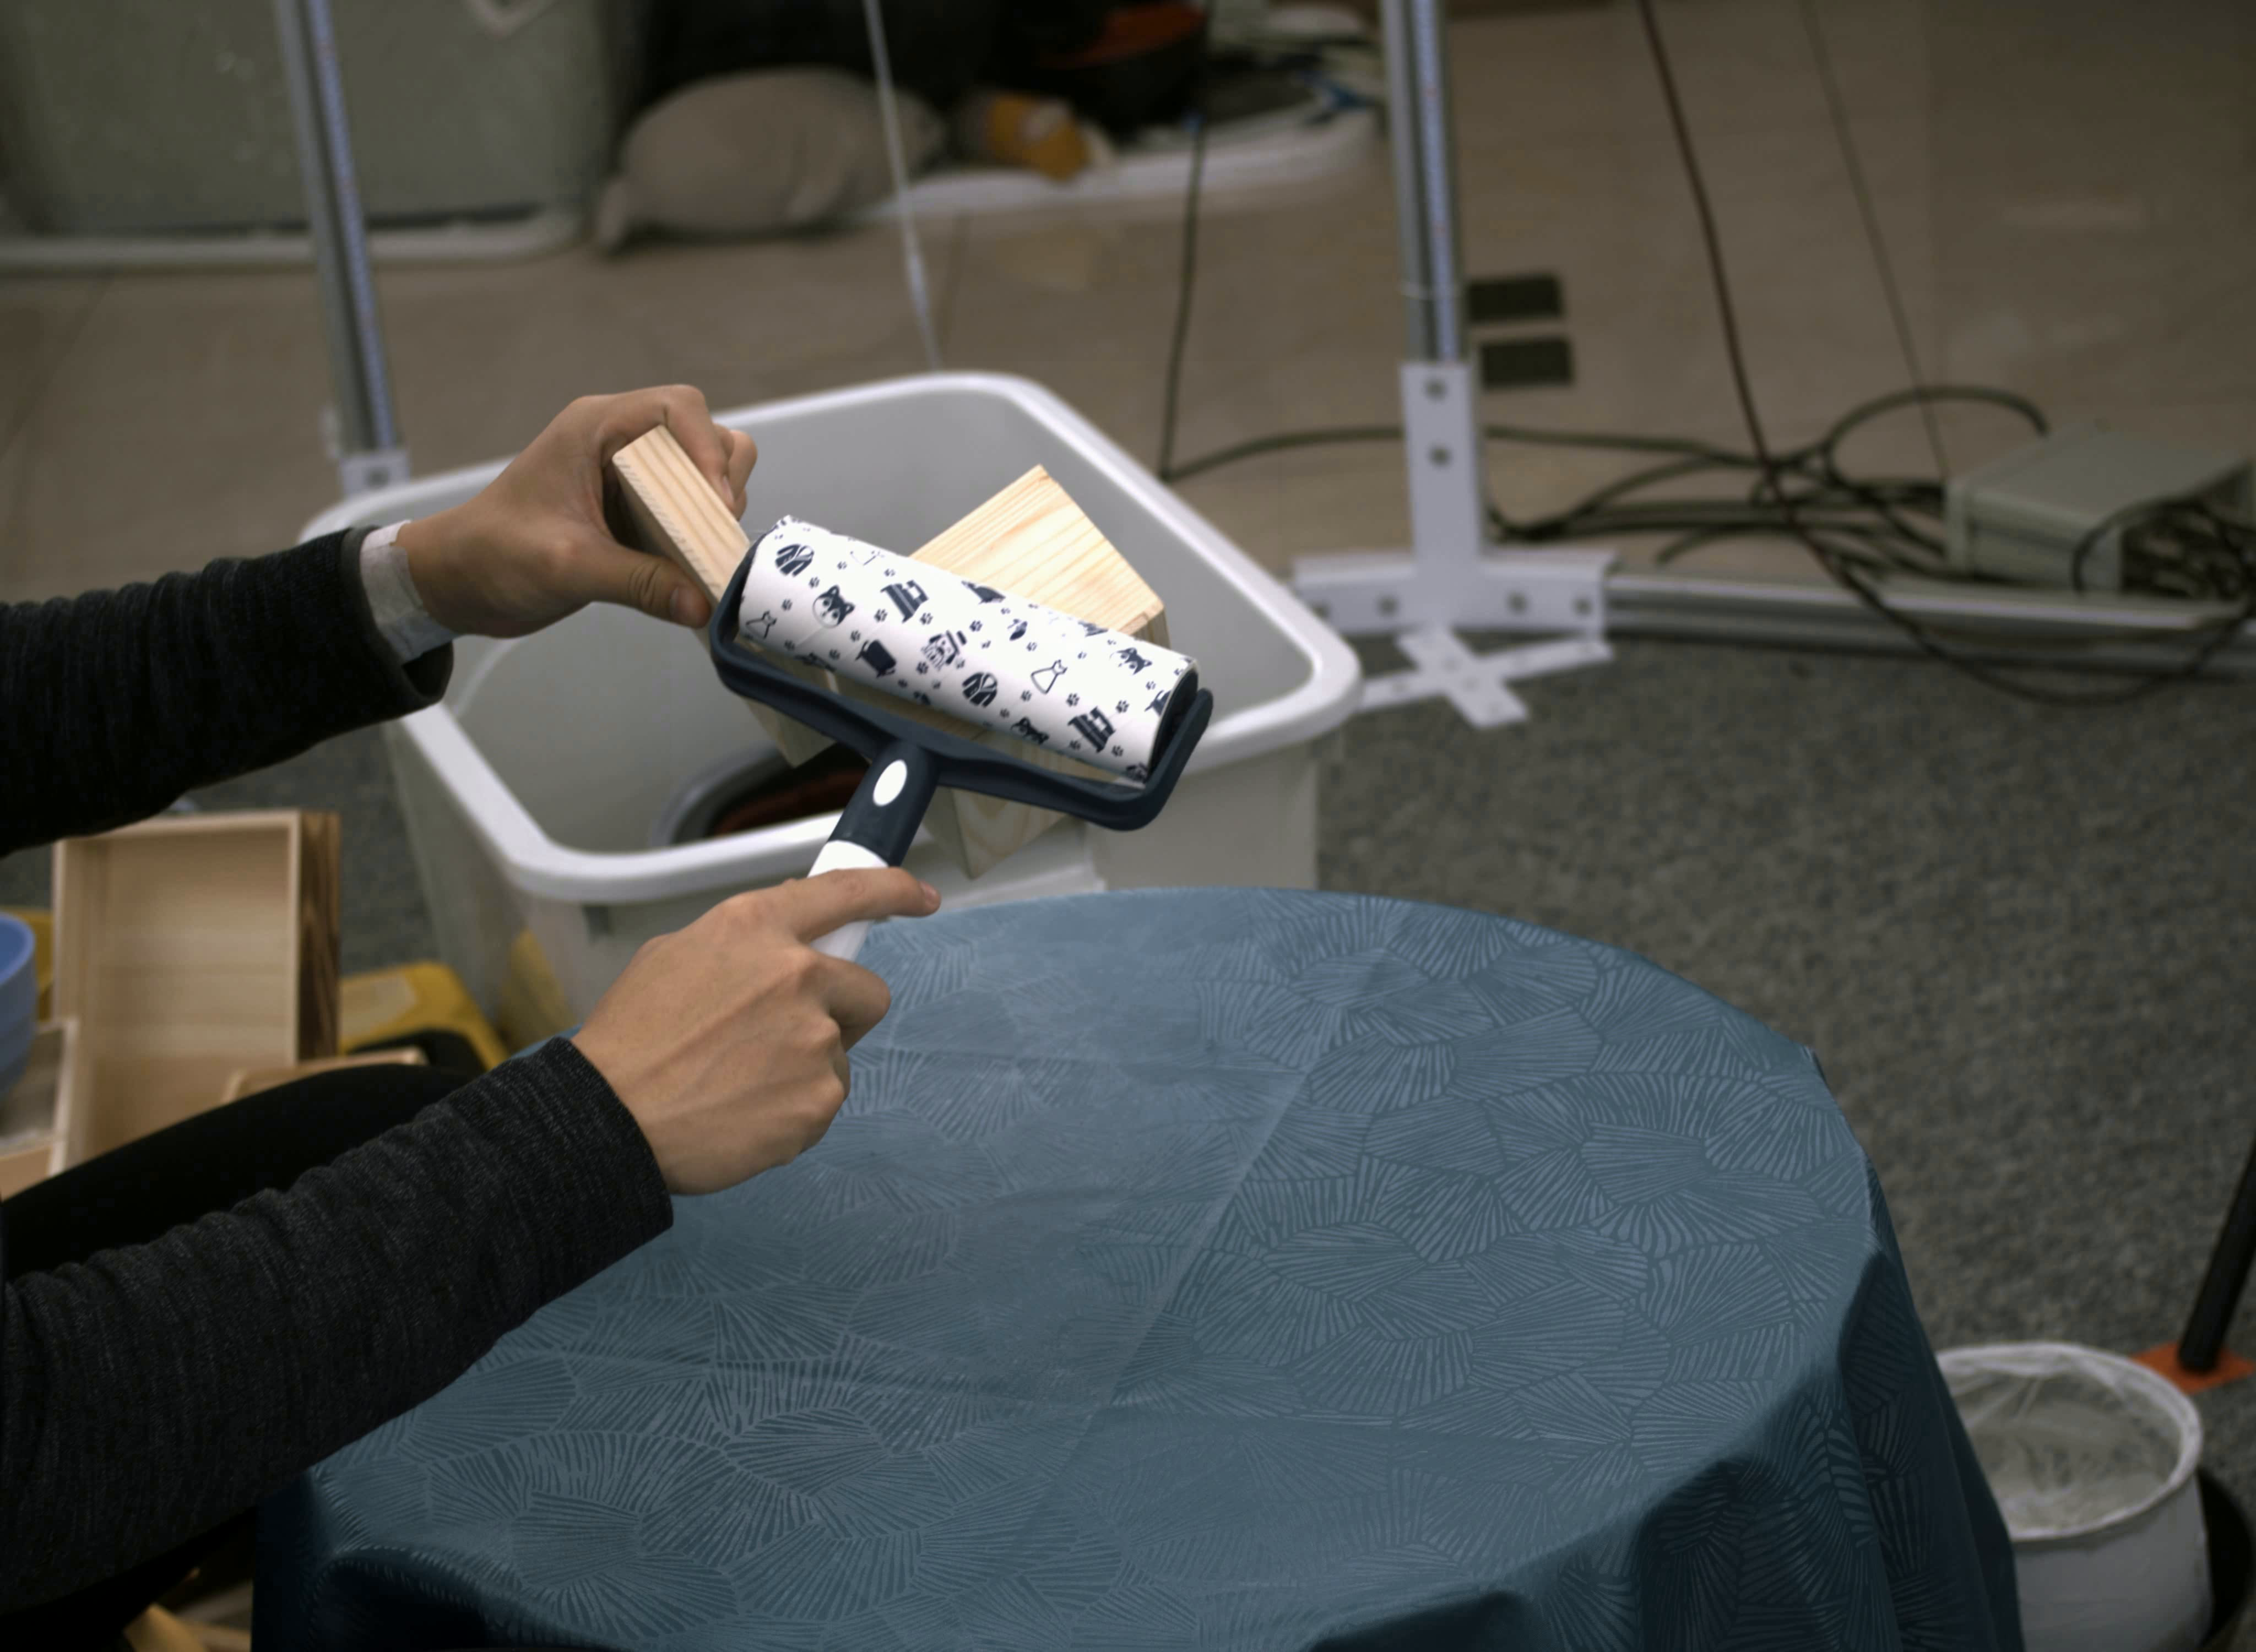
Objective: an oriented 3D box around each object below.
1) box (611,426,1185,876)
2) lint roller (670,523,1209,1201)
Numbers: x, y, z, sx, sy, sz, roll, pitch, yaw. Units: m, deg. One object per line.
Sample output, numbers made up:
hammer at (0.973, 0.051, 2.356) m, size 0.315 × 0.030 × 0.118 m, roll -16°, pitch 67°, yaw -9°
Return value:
box at (-0.083, -0.089, 2.099) m, size 0.133 × 0.104 × 0.182 m, roll -37°, pitch 69°, yaw -11°
lint roller at (-0.096, 0.020, 1.961) m, size 0.175 × 0.051 × 0.244 m, roll 20°, pitch 64°, yaw 11°
